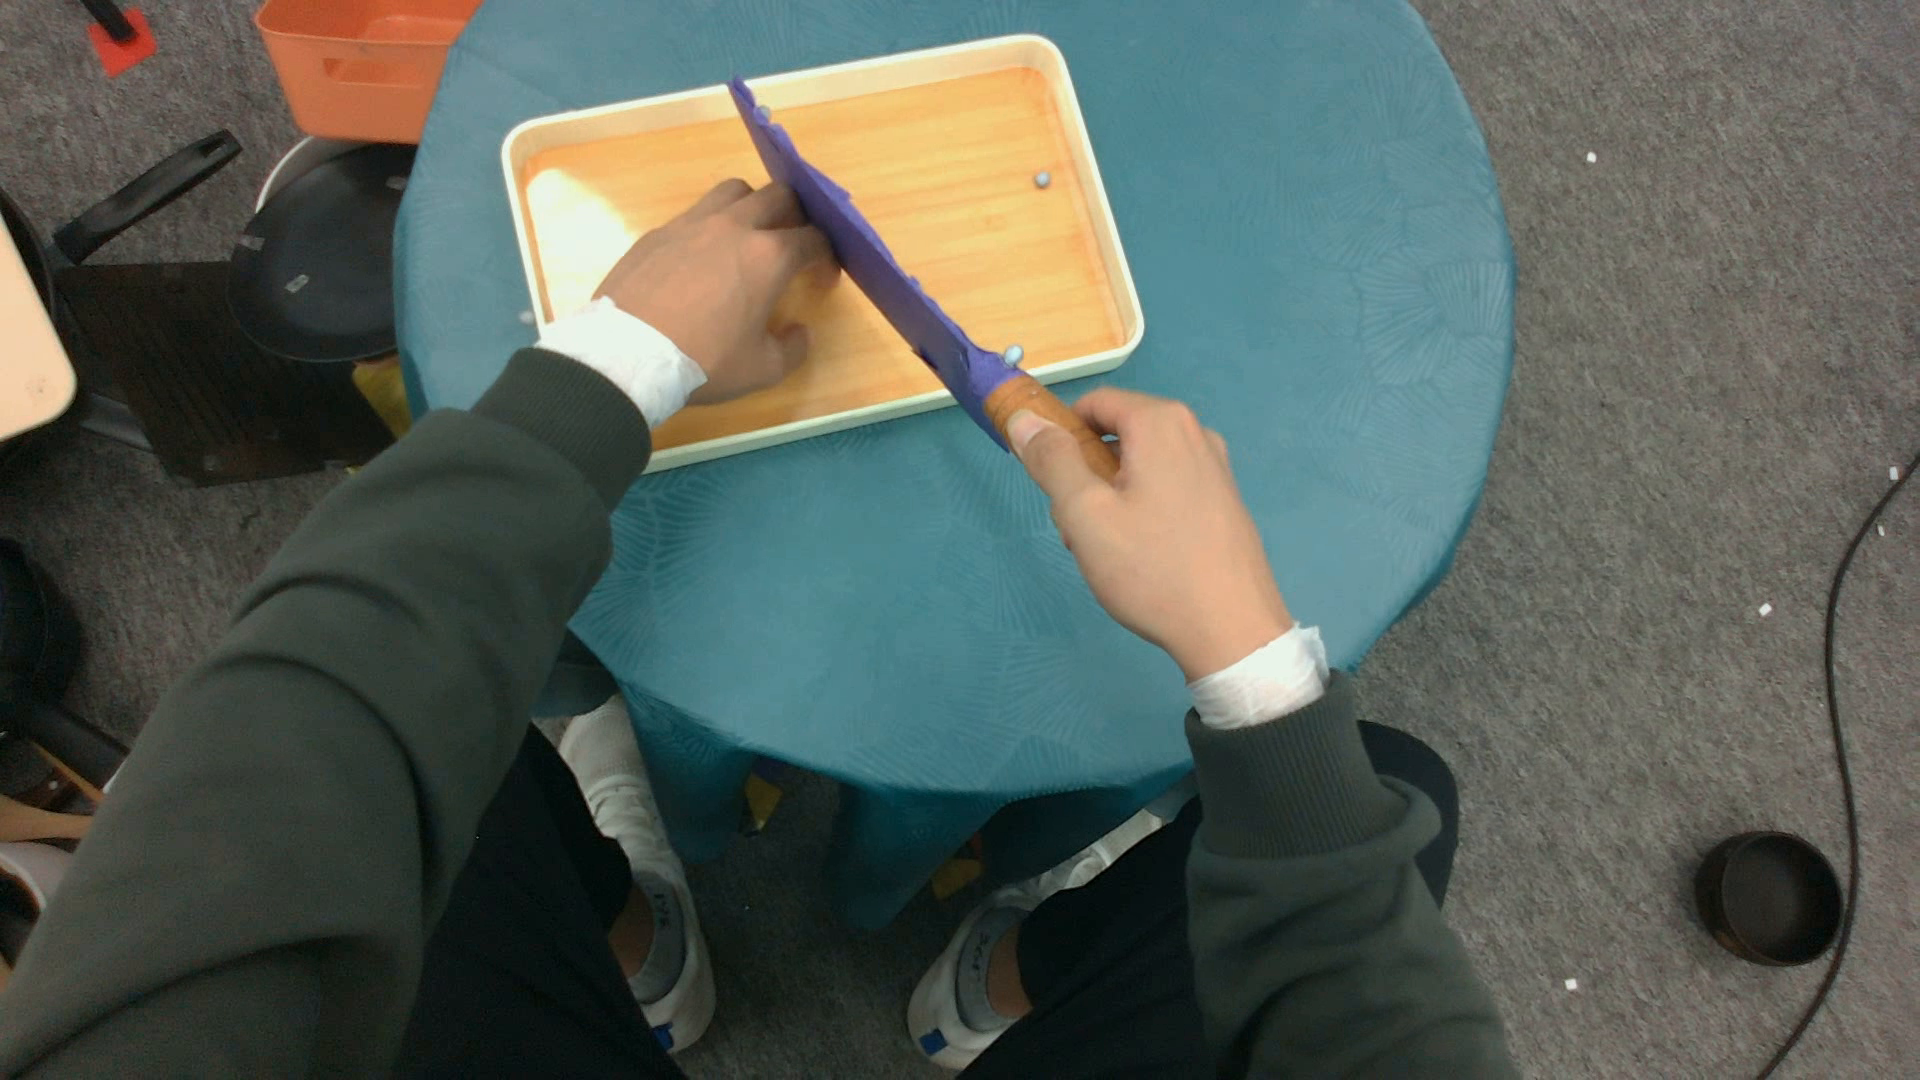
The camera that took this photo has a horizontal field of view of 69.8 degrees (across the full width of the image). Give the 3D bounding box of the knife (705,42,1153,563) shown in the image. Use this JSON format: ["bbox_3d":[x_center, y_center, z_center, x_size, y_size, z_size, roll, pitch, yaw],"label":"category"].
[{"bbox_3d":[-0.019,-0.103,0.625,0.032,0.103,0.315,-36,67,-5],"label":"knife"}]

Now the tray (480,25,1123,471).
[{"bbox_3d":[-0.079,-0.157,0.717,0.301,0.027,0.192,-14,79,-11],"label":"tray"}]
